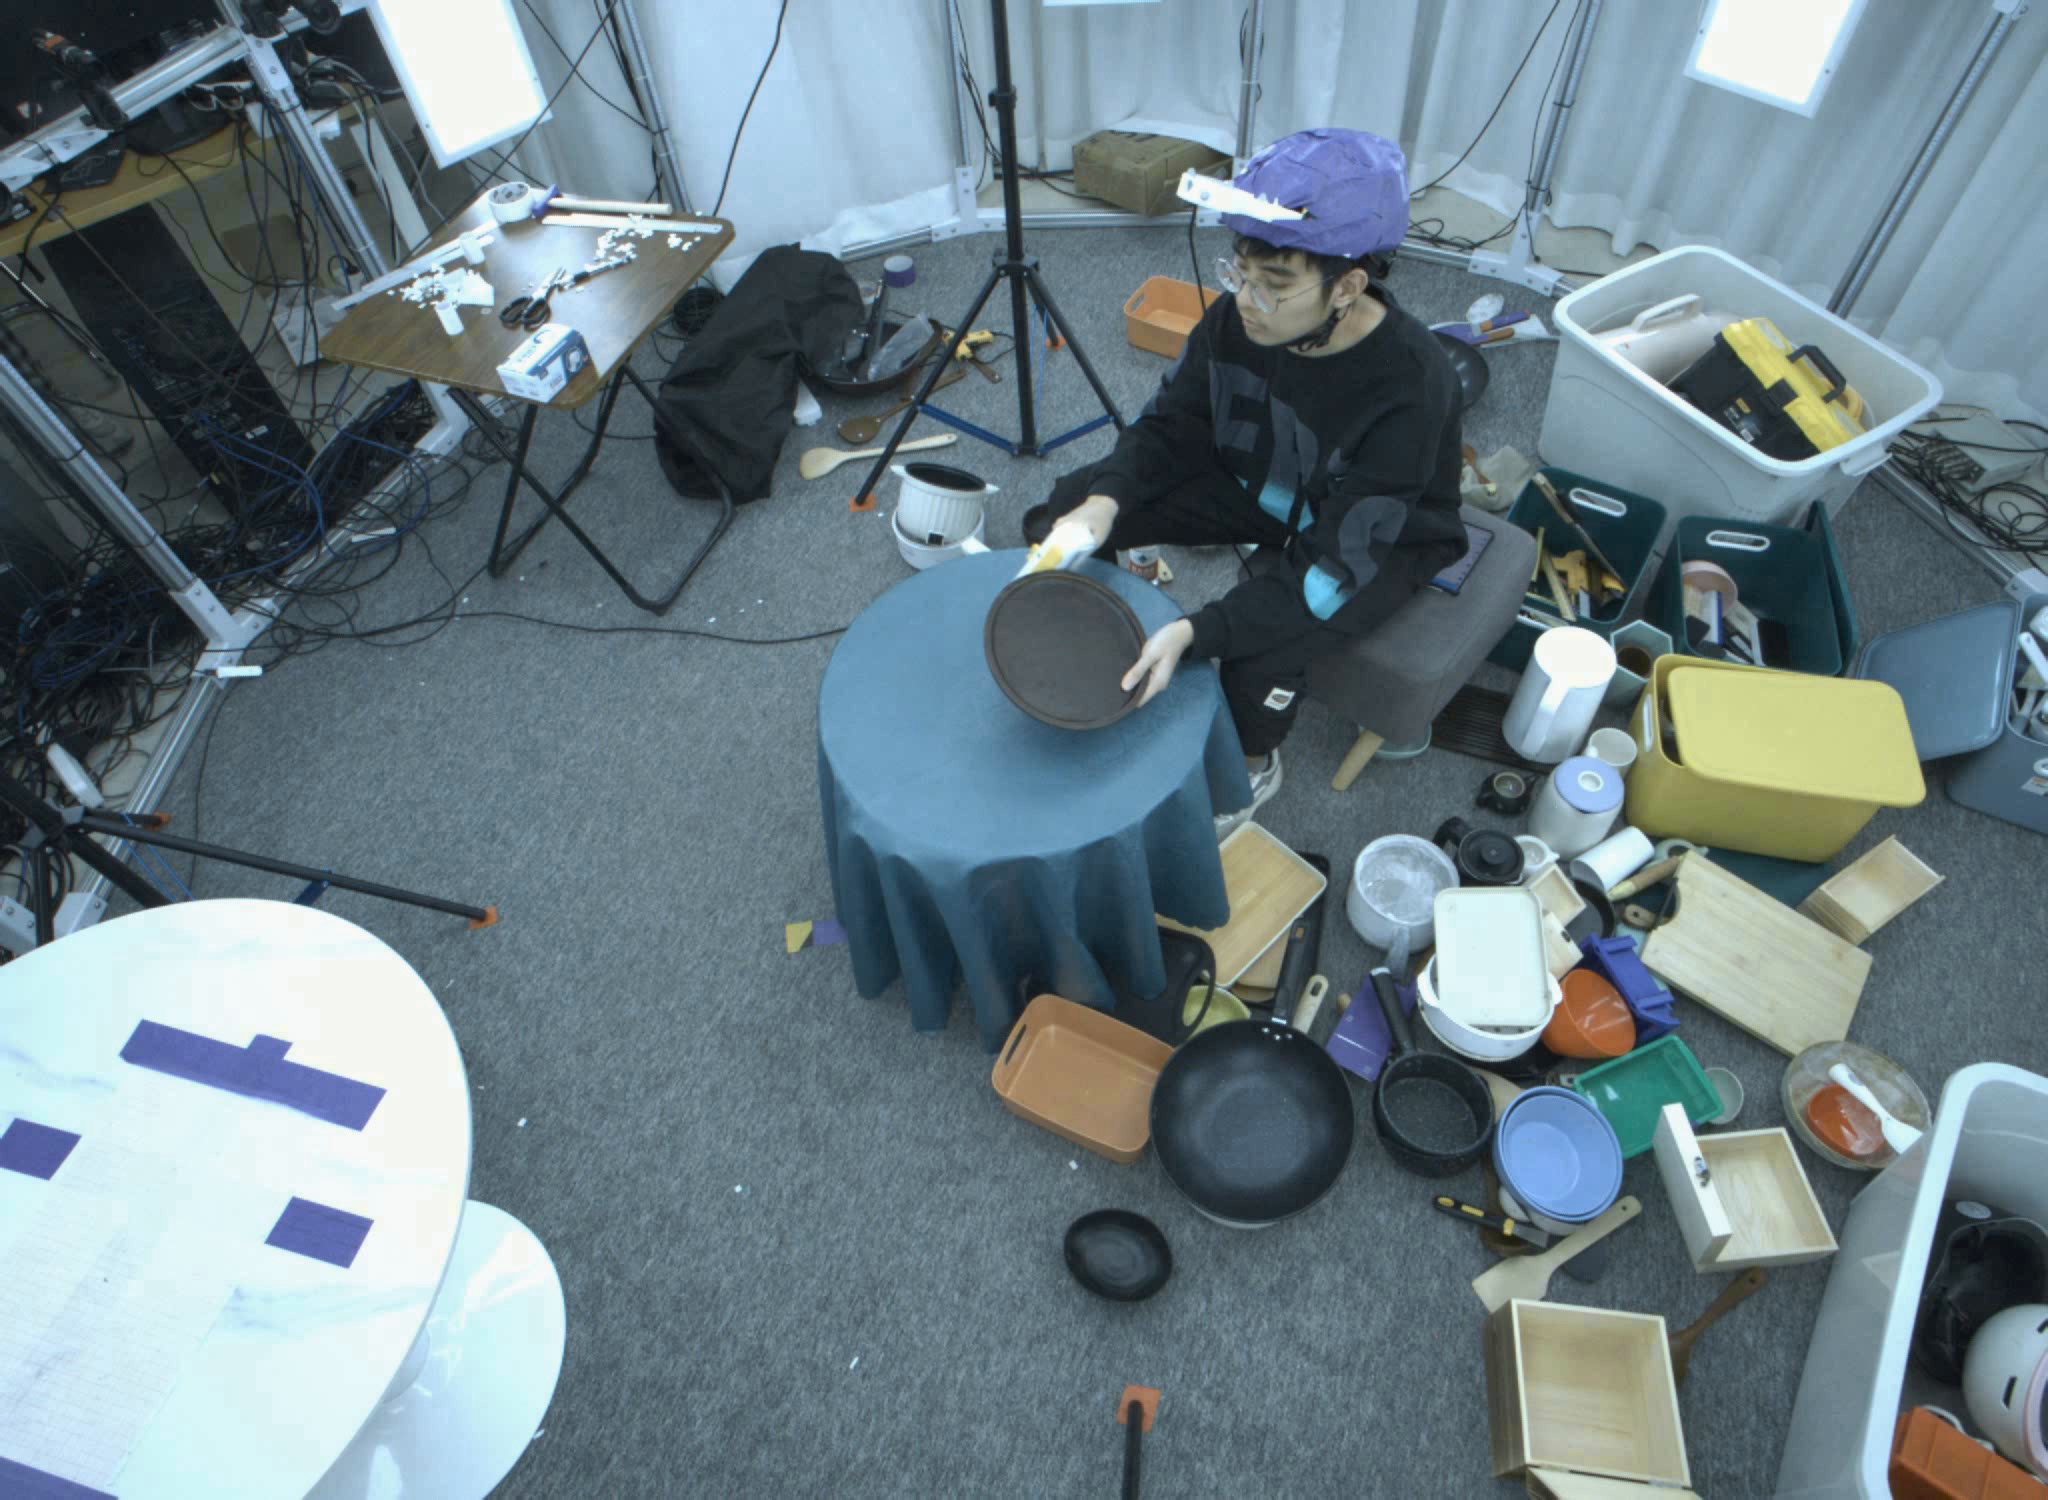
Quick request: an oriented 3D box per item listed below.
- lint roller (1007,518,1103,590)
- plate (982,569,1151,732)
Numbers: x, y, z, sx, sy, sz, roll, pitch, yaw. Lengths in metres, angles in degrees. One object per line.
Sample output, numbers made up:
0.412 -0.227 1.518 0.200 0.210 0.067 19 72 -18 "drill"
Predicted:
0.066 -0.294 1.877 0.074 0.192 0.194 45 38 7 "lint roller"
0.060 -0.142 1.750 0.258 0.029 0.253 9 66 -18 "plate"
